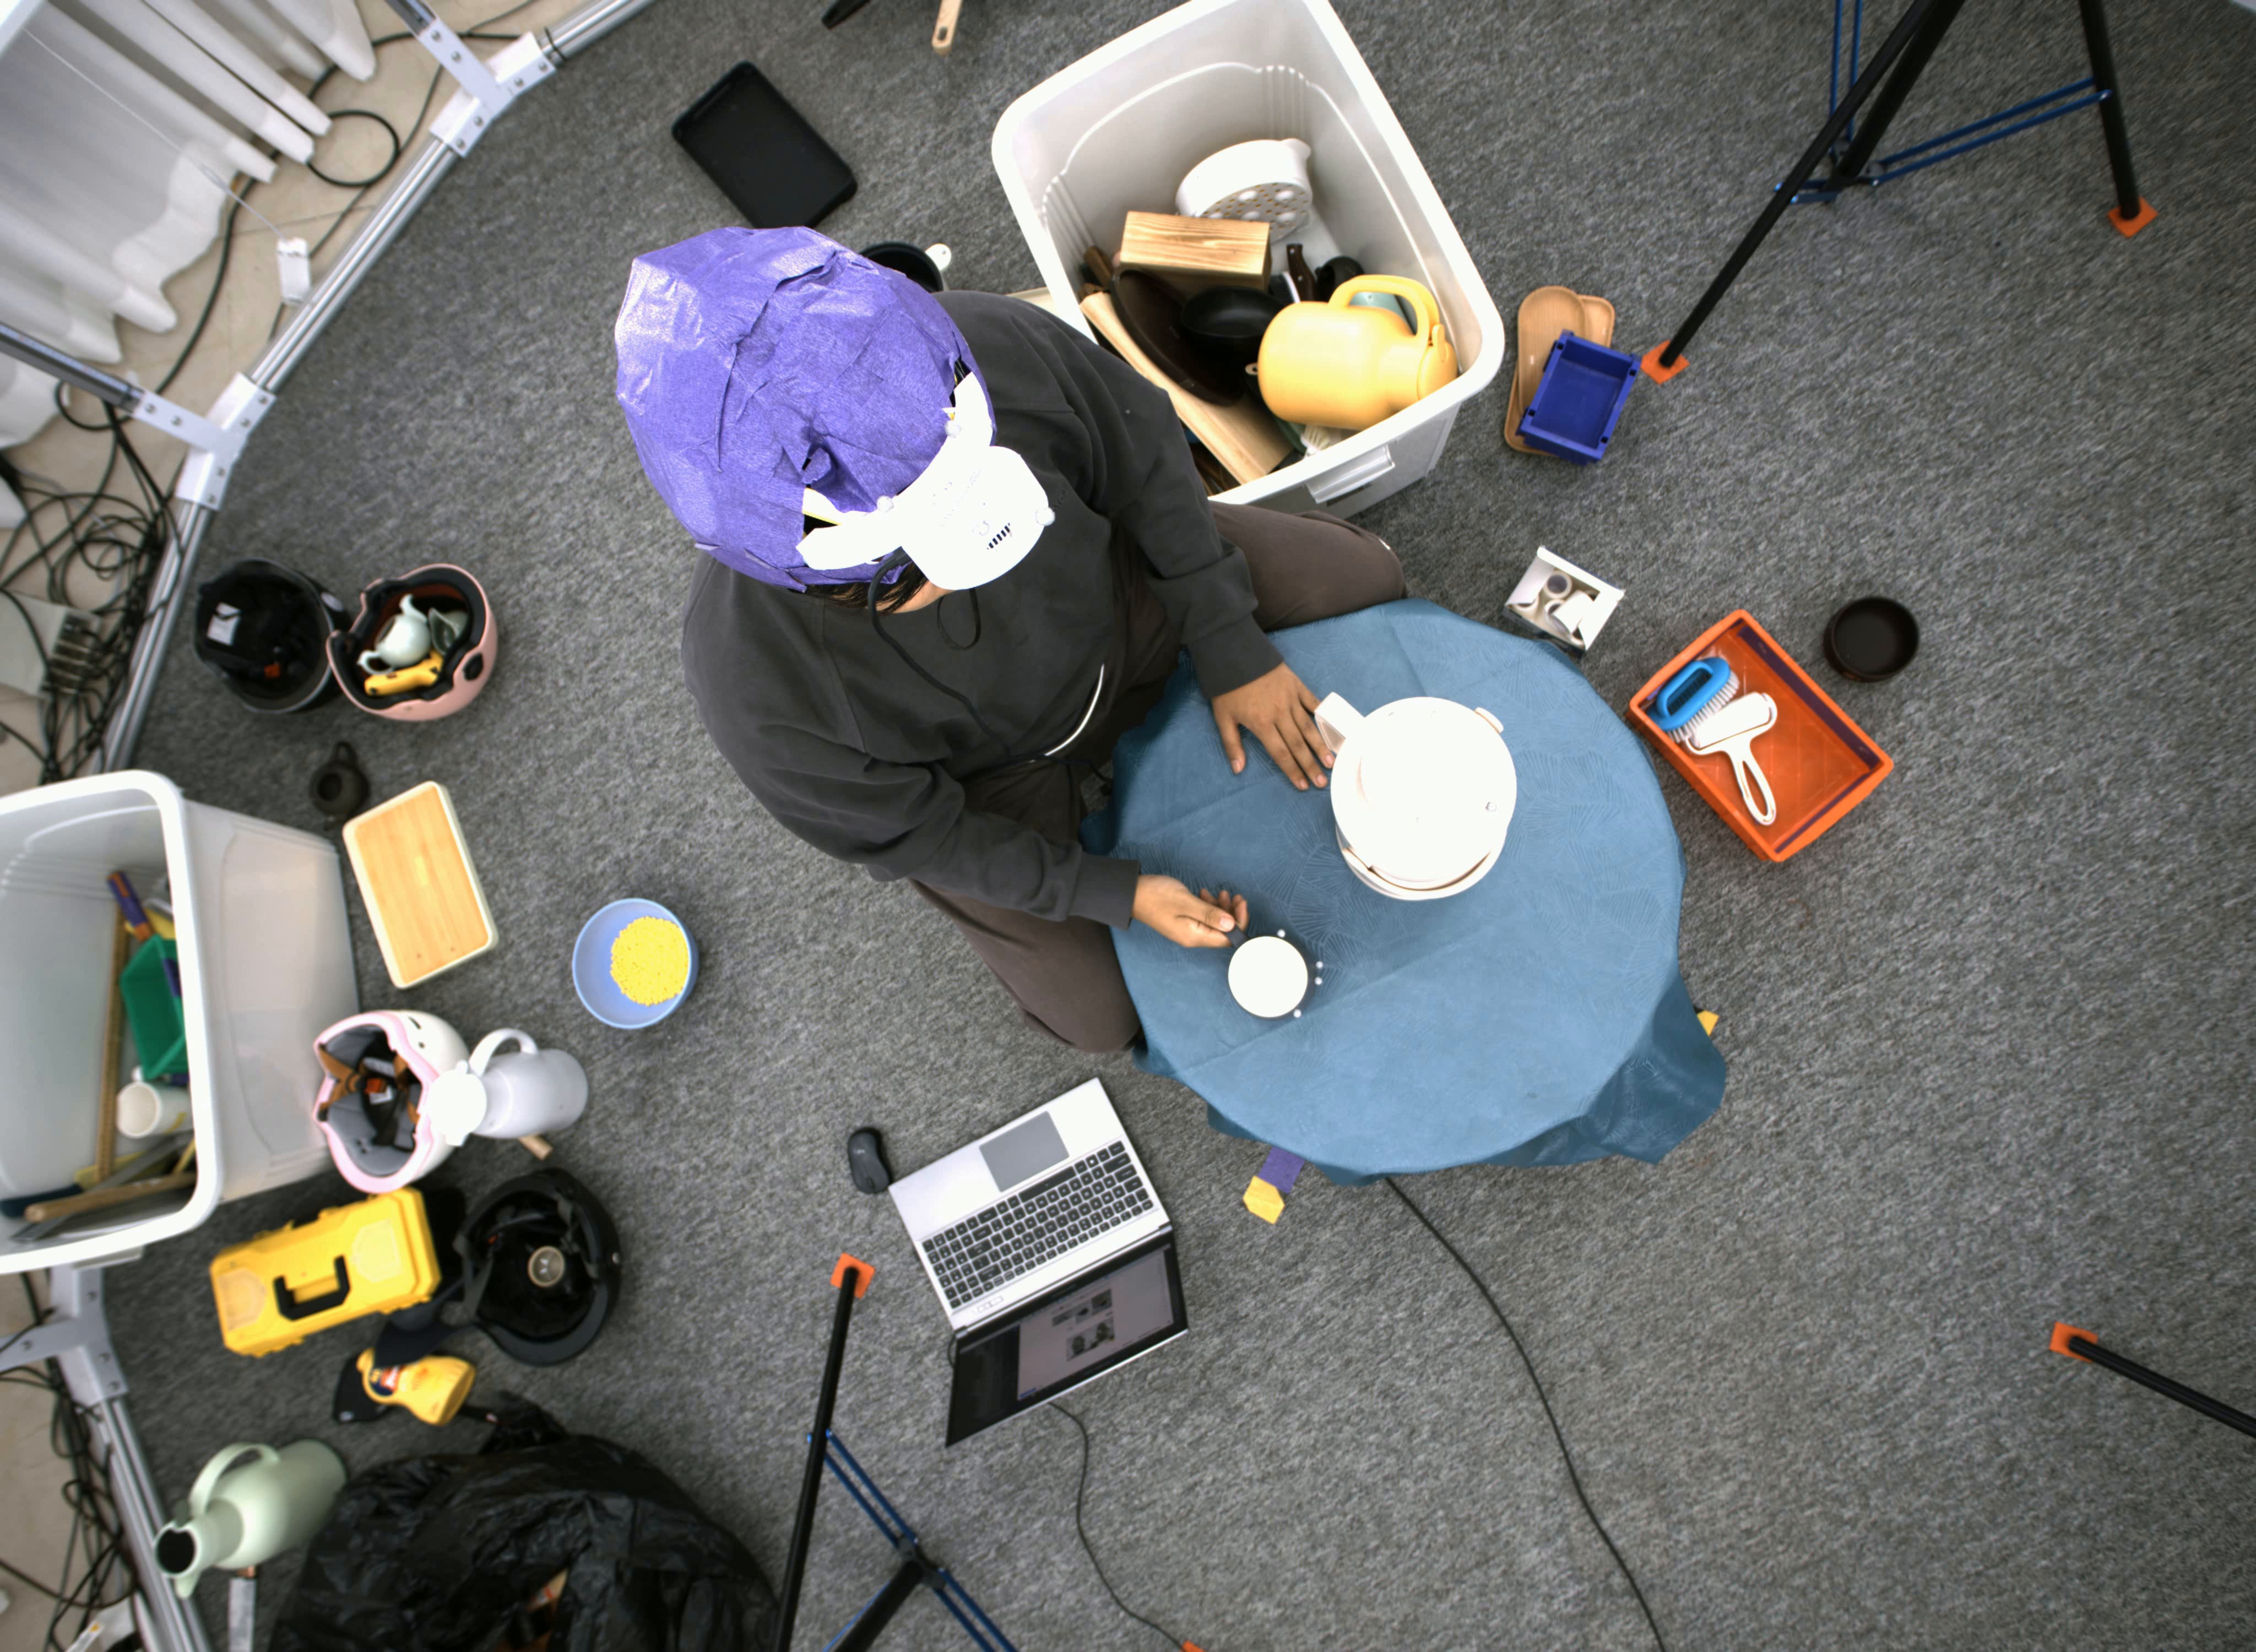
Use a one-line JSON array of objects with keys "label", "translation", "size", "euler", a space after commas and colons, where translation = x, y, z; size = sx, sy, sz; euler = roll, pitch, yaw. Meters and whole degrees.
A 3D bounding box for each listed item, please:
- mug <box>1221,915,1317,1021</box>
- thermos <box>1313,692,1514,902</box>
[{"label": "mug", "translation": [0.139, 0.142, 1.436], "size": [0.094, 0.090, 0.122], "euler": [-38, 80, 5]}, {"label": "thermos", "translation": [0.256, -0.033, 1.268], "size": [0.206, 0.407, 0.176], "euler": [43, 93, 11]}]
